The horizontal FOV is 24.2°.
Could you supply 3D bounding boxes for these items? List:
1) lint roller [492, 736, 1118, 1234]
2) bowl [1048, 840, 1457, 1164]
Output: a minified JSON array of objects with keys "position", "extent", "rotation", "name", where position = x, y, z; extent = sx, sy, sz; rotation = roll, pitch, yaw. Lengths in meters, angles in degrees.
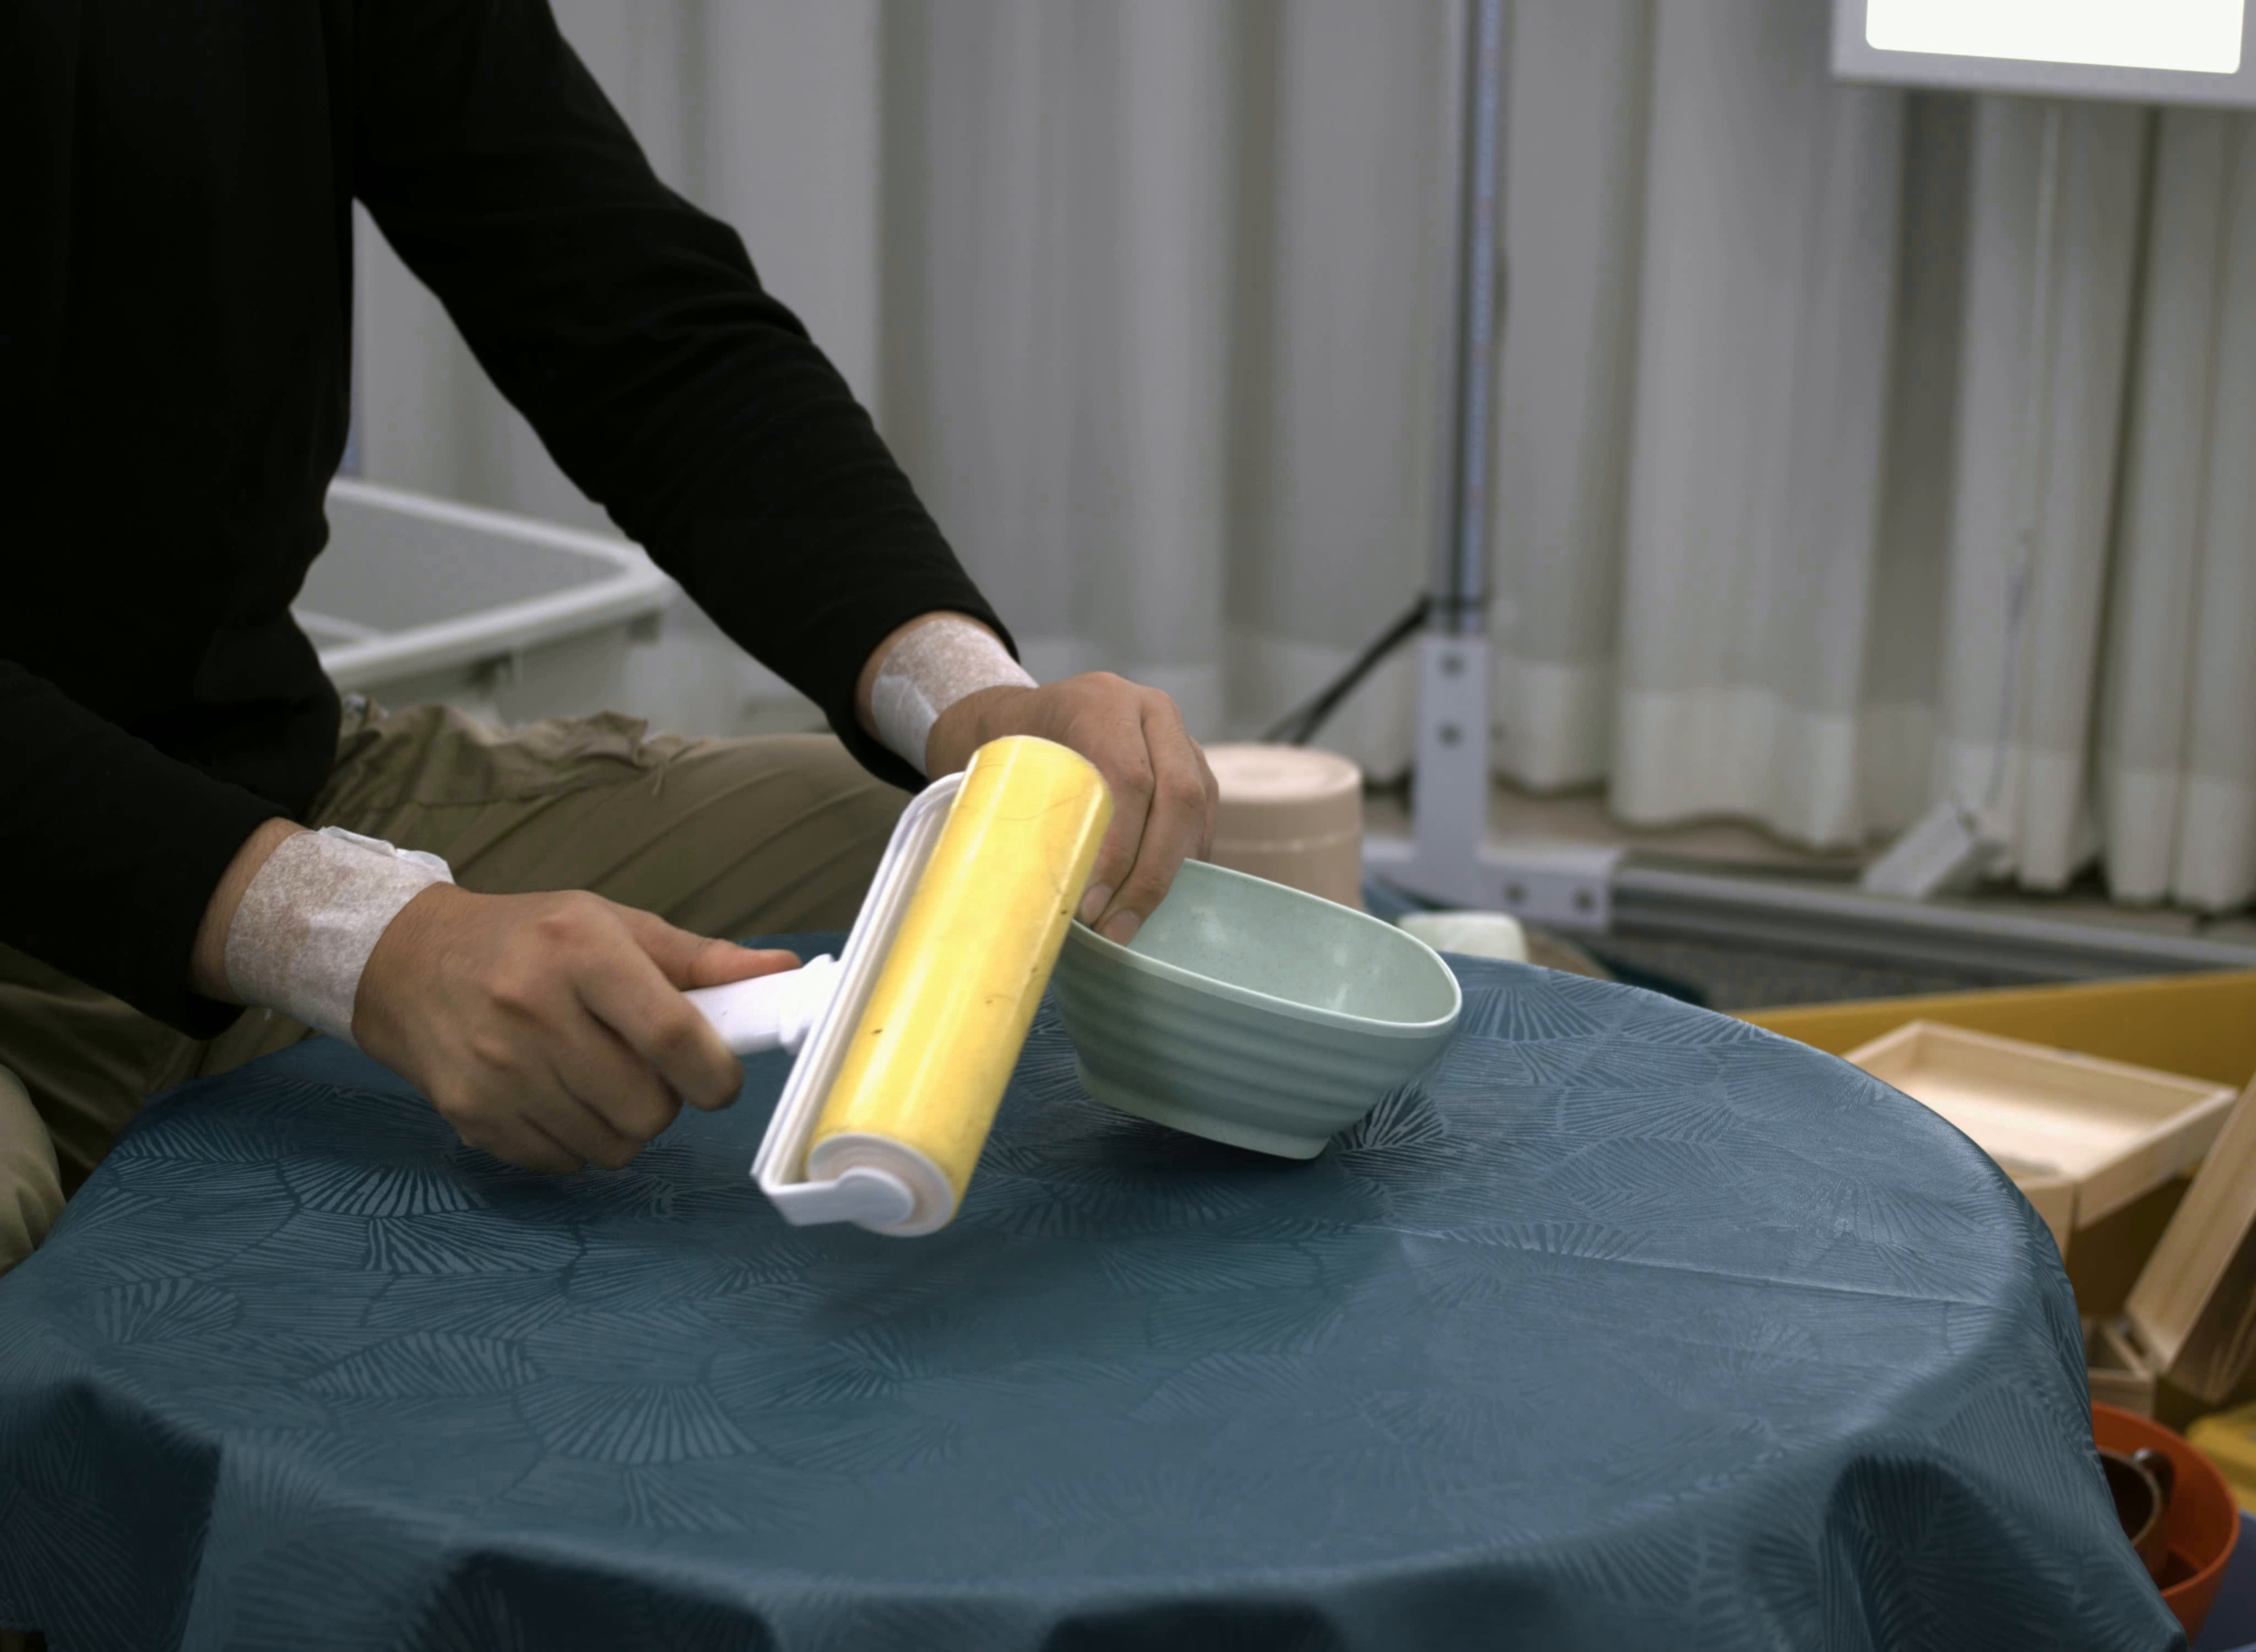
[{"position":[-0.111,0.050,1.576],"extent":[0.190,0.052,0.173],"rotation":[-2,44,21],"name":"lint roller"},{"position":[0.030,0.060,1.665],"extent":[0.151,0.059,0.150],"rotation":[18,14,-4],"name":"bowl"}]
